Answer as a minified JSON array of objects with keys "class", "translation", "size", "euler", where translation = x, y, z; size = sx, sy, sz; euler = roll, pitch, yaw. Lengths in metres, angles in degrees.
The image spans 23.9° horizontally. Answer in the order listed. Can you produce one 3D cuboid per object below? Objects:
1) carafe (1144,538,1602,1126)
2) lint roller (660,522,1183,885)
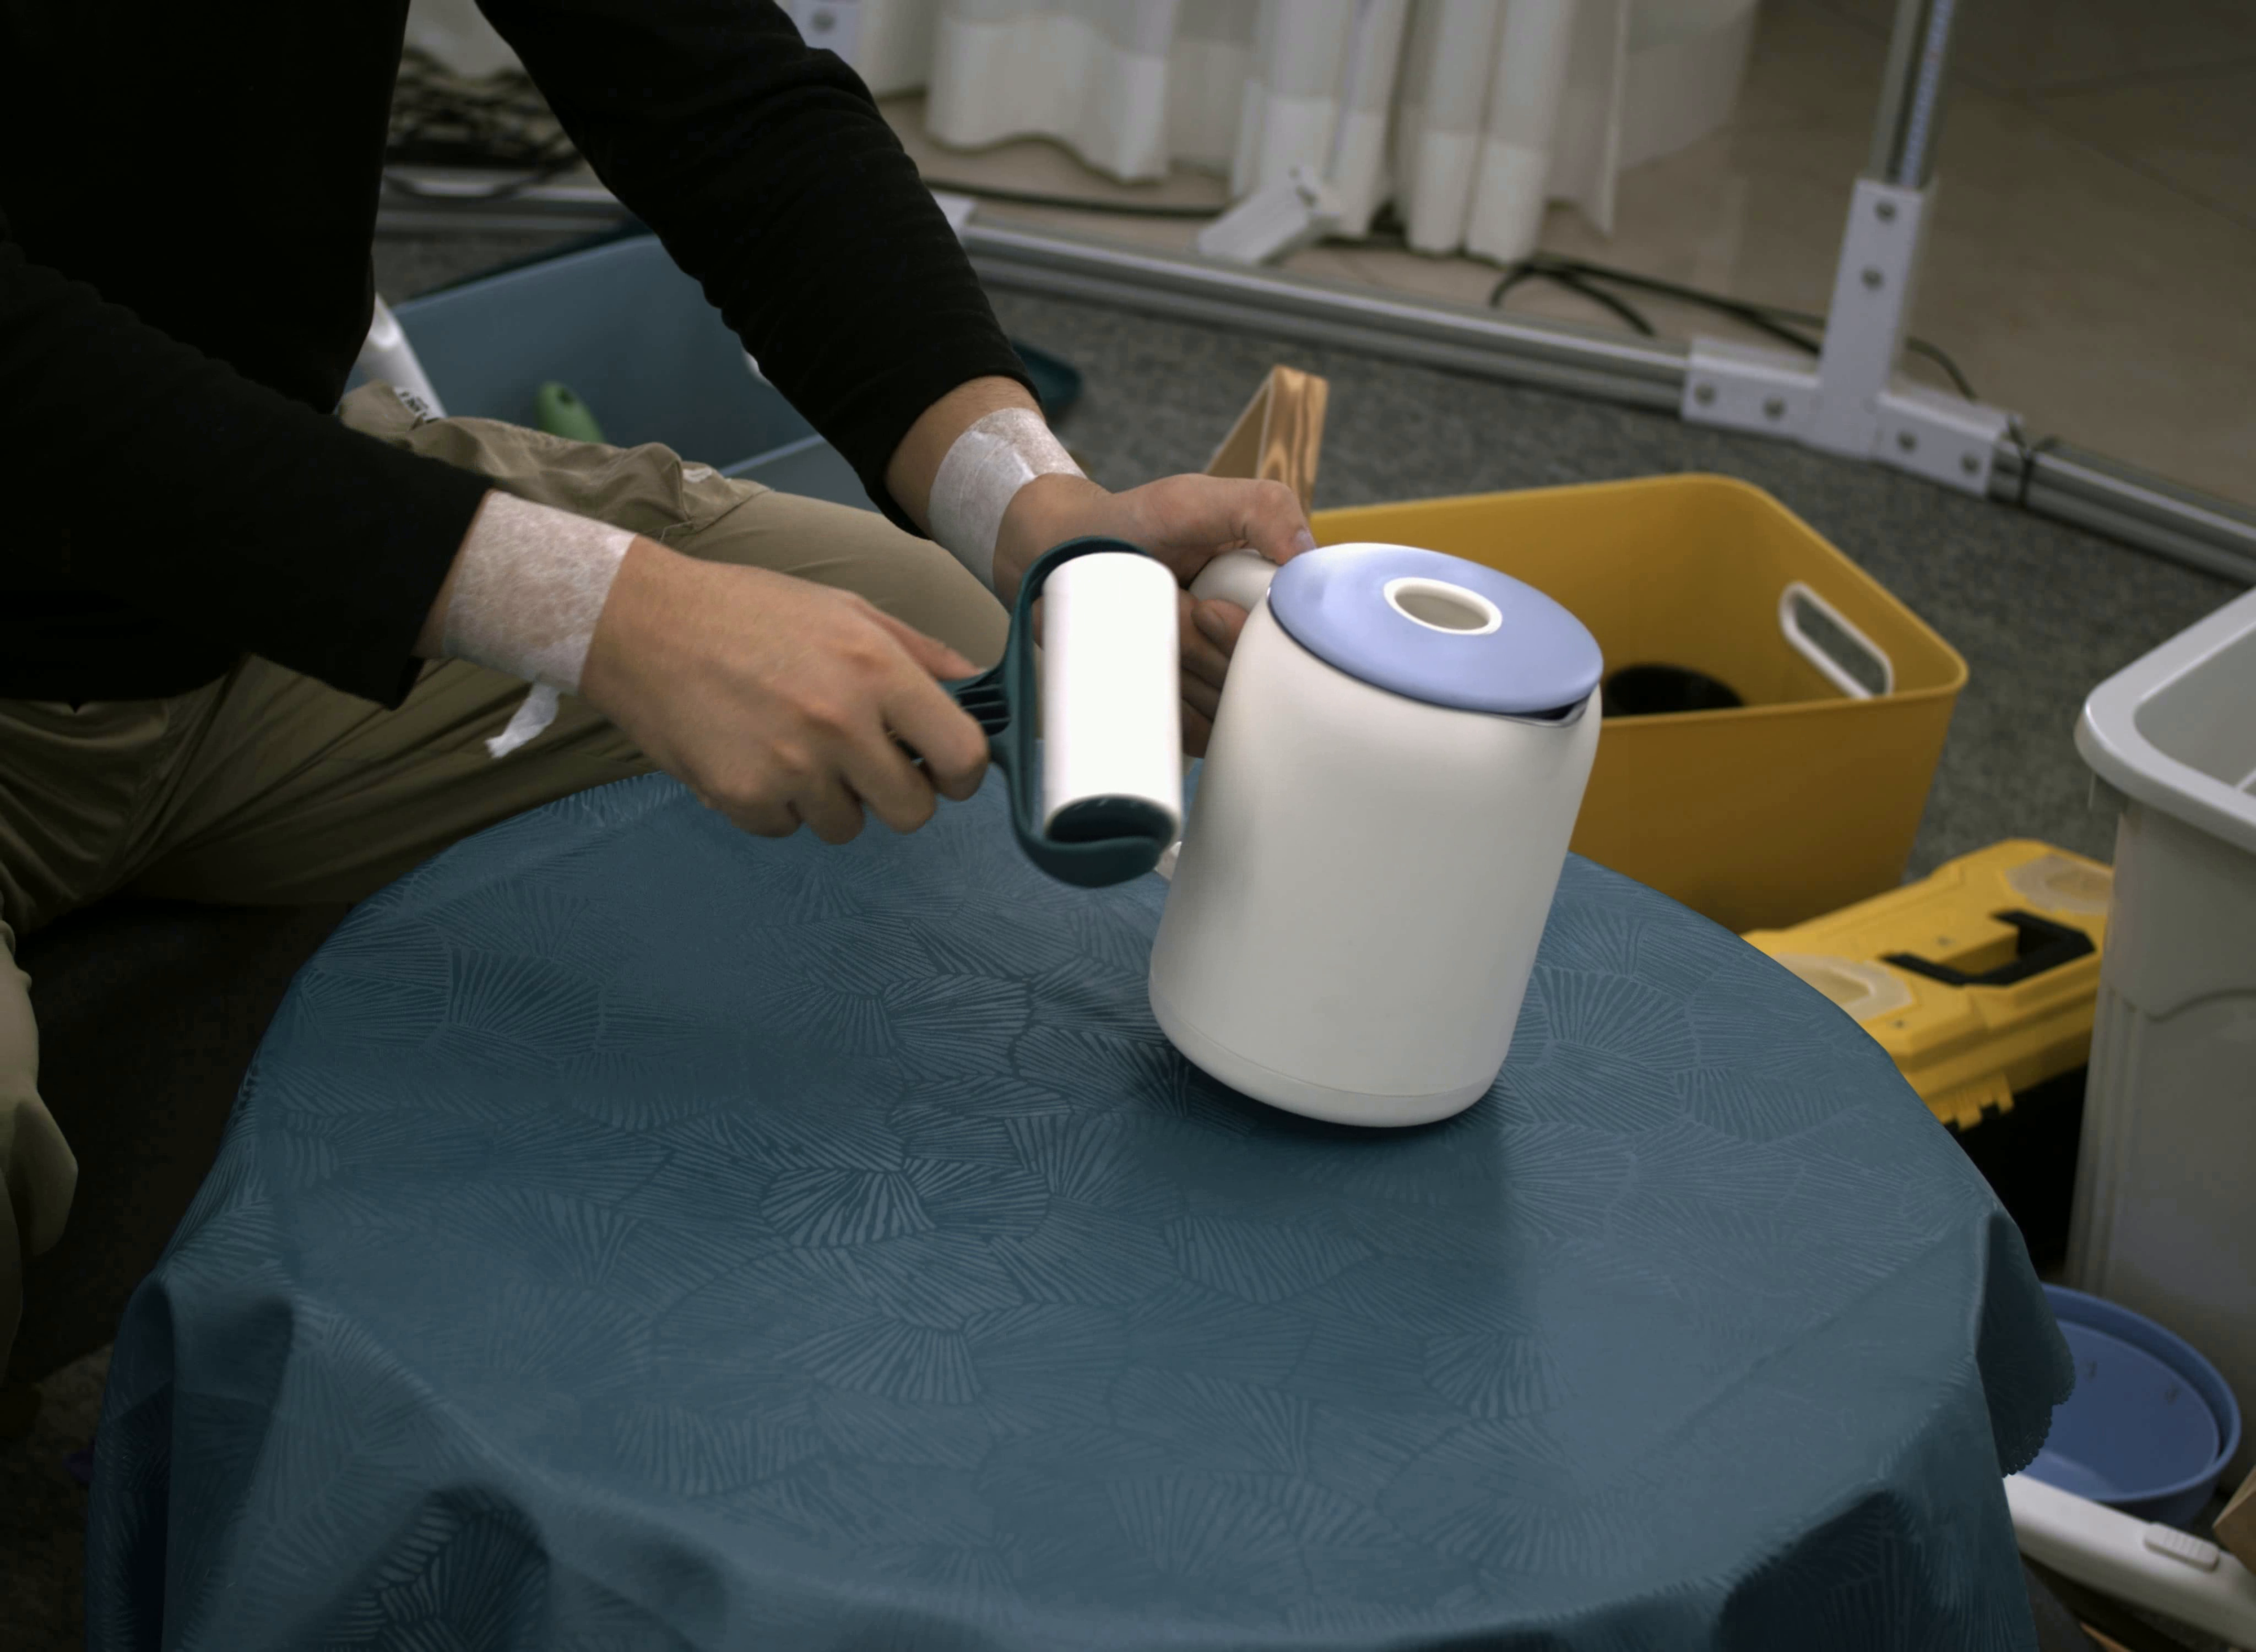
[{"class":"carafe","translation":[0.071,-0.009,1.872],"size":[0.131,0.182,0.192],"euler":[-10,32,-43]},{"class":"lint roller","translation":[-0.072,-0.041,1.825],"size":[0.179,0.048,0.135],"euler":[-1,56,-1]}]
